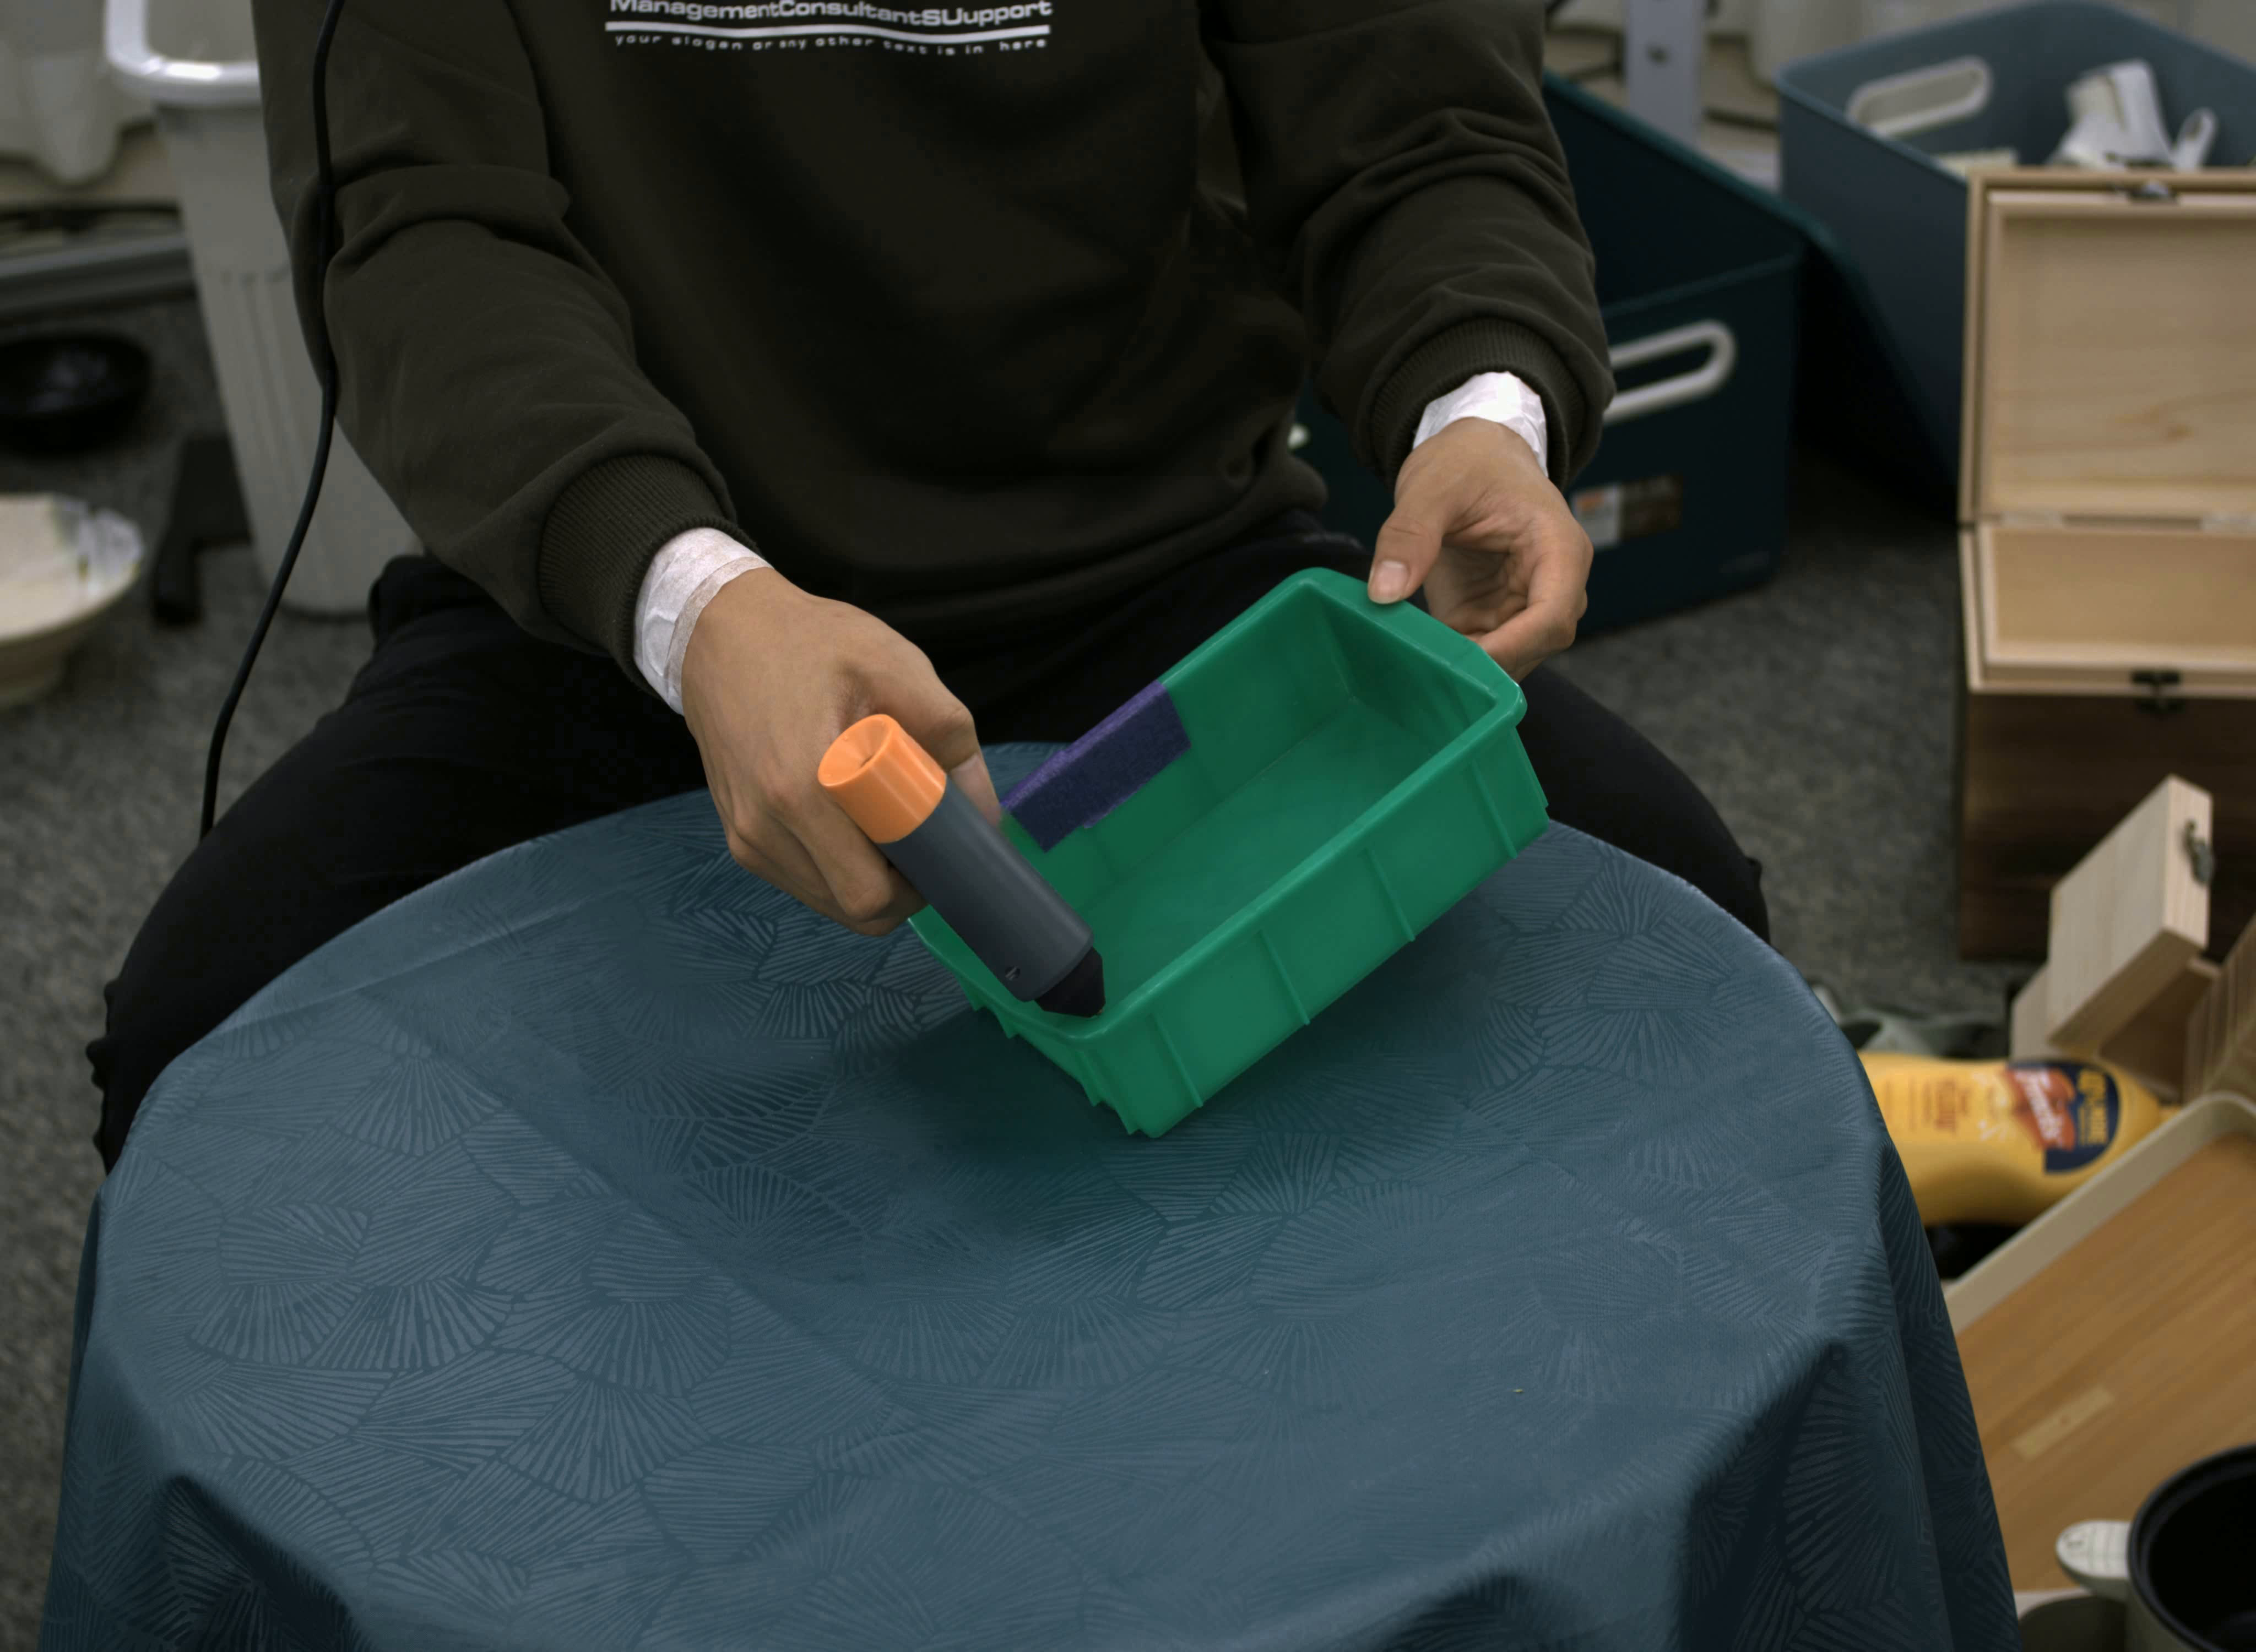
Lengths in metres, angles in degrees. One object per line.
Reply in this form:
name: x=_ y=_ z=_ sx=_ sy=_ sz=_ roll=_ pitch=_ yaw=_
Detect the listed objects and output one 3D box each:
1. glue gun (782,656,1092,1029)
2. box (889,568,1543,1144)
glue gun: x=-0.064 y=0.003 z=1.887 sx=0.041 sy=0.117 sz=0.141 roll=-37 pitch=29 yaw=-3
box: x=0.035 y=0.012 z=1.944 sx=0.212 sy=0.064 sz=0.139 roll=-39 pitch=37 yaw=-16
